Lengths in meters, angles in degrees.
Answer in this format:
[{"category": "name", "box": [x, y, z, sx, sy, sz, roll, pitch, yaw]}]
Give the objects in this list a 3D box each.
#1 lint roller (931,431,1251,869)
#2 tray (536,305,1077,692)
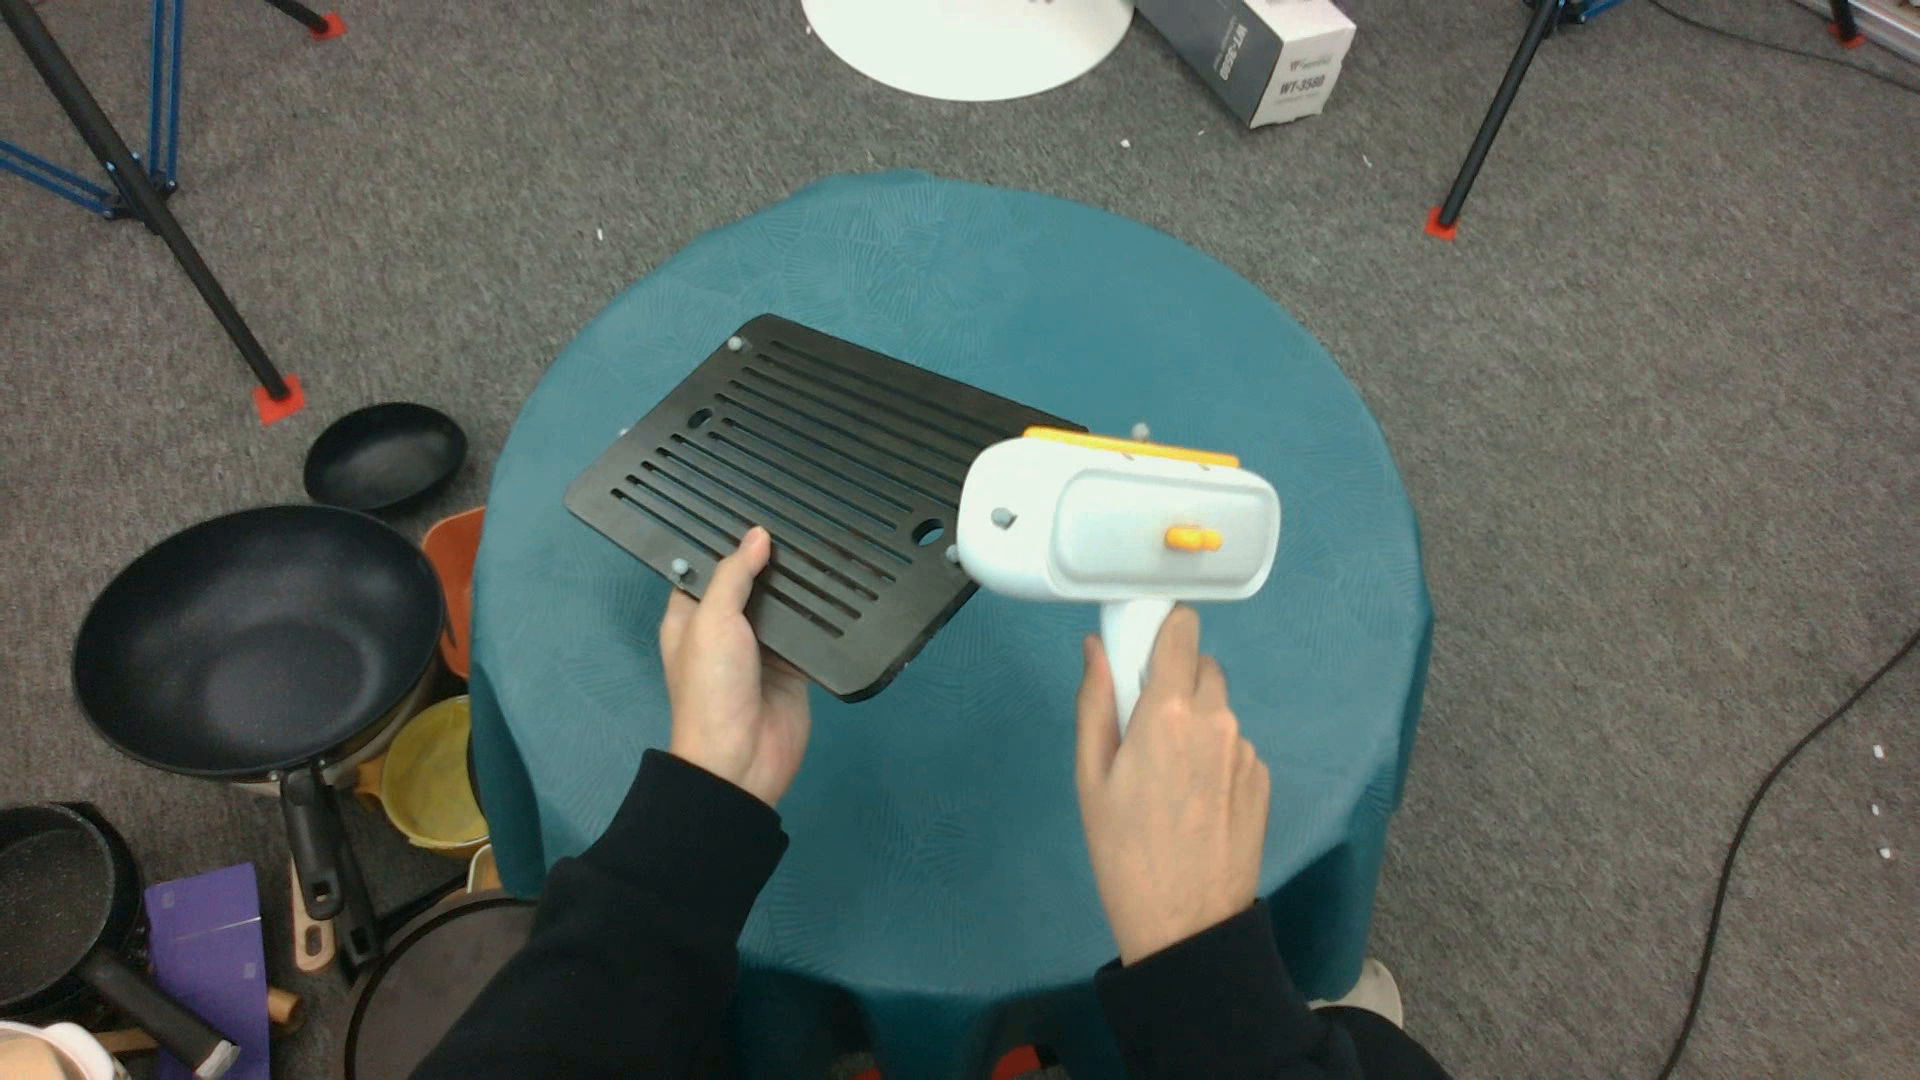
[{"category": "lint roller", "box": [0.071, 0.048, 0.613, 0.074, 0.193, 0.192, 0, 92, 38]}, {"category": "tray", "box": [-0.092, -0.036, 0.713, 0.170, 0.018, 0.306, -46, 43, -17]}]
